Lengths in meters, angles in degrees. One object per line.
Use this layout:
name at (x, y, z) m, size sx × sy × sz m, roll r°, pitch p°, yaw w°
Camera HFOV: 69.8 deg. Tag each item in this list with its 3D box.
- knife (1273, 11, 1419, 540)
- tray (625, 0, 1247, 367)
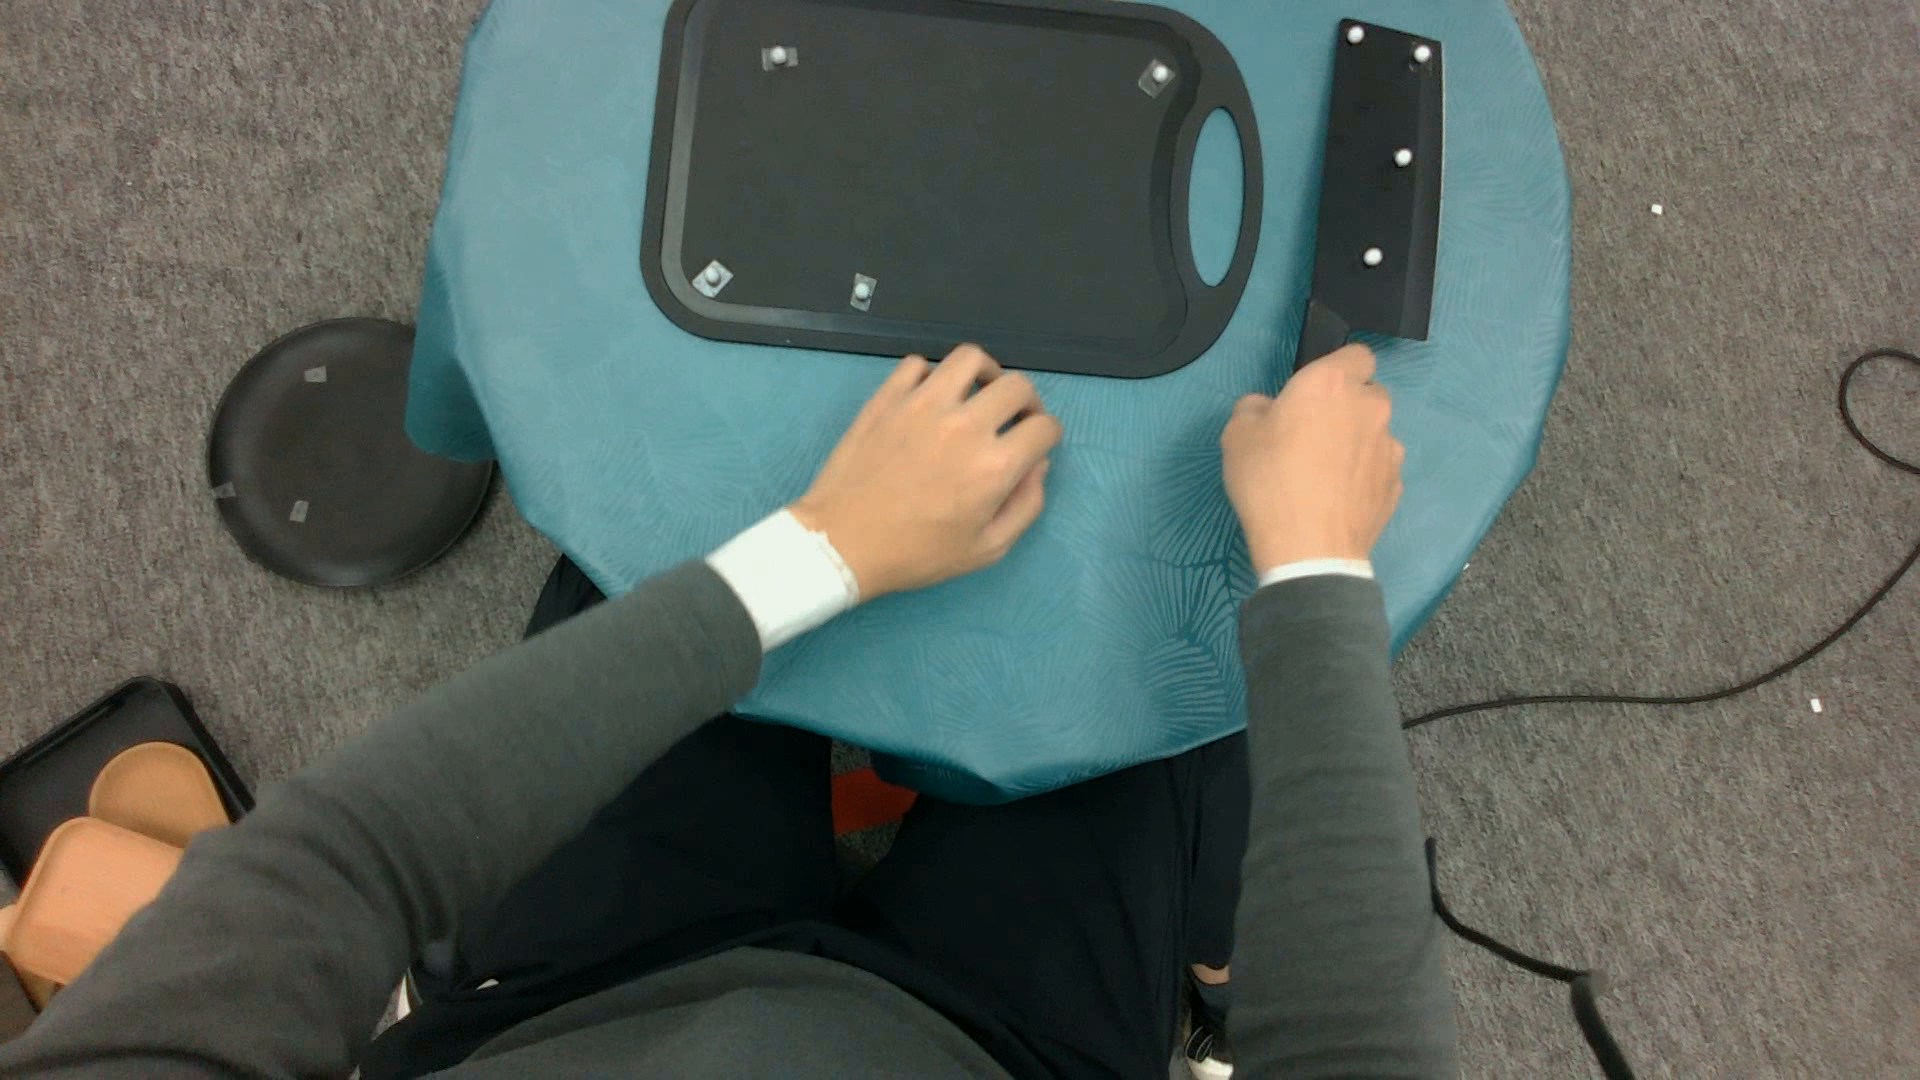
knife at (0.203, -0.146, 0.721) m, size 0.081 × 0.021 × 0.303 m, roll 14°, pitch 74°, yaw -5°
tray at (-0.006, -0.204, 0.728) m, size 0.325 × 0.010 × 0.211 m, roll 5°, pitch 82°, yaw -4°
